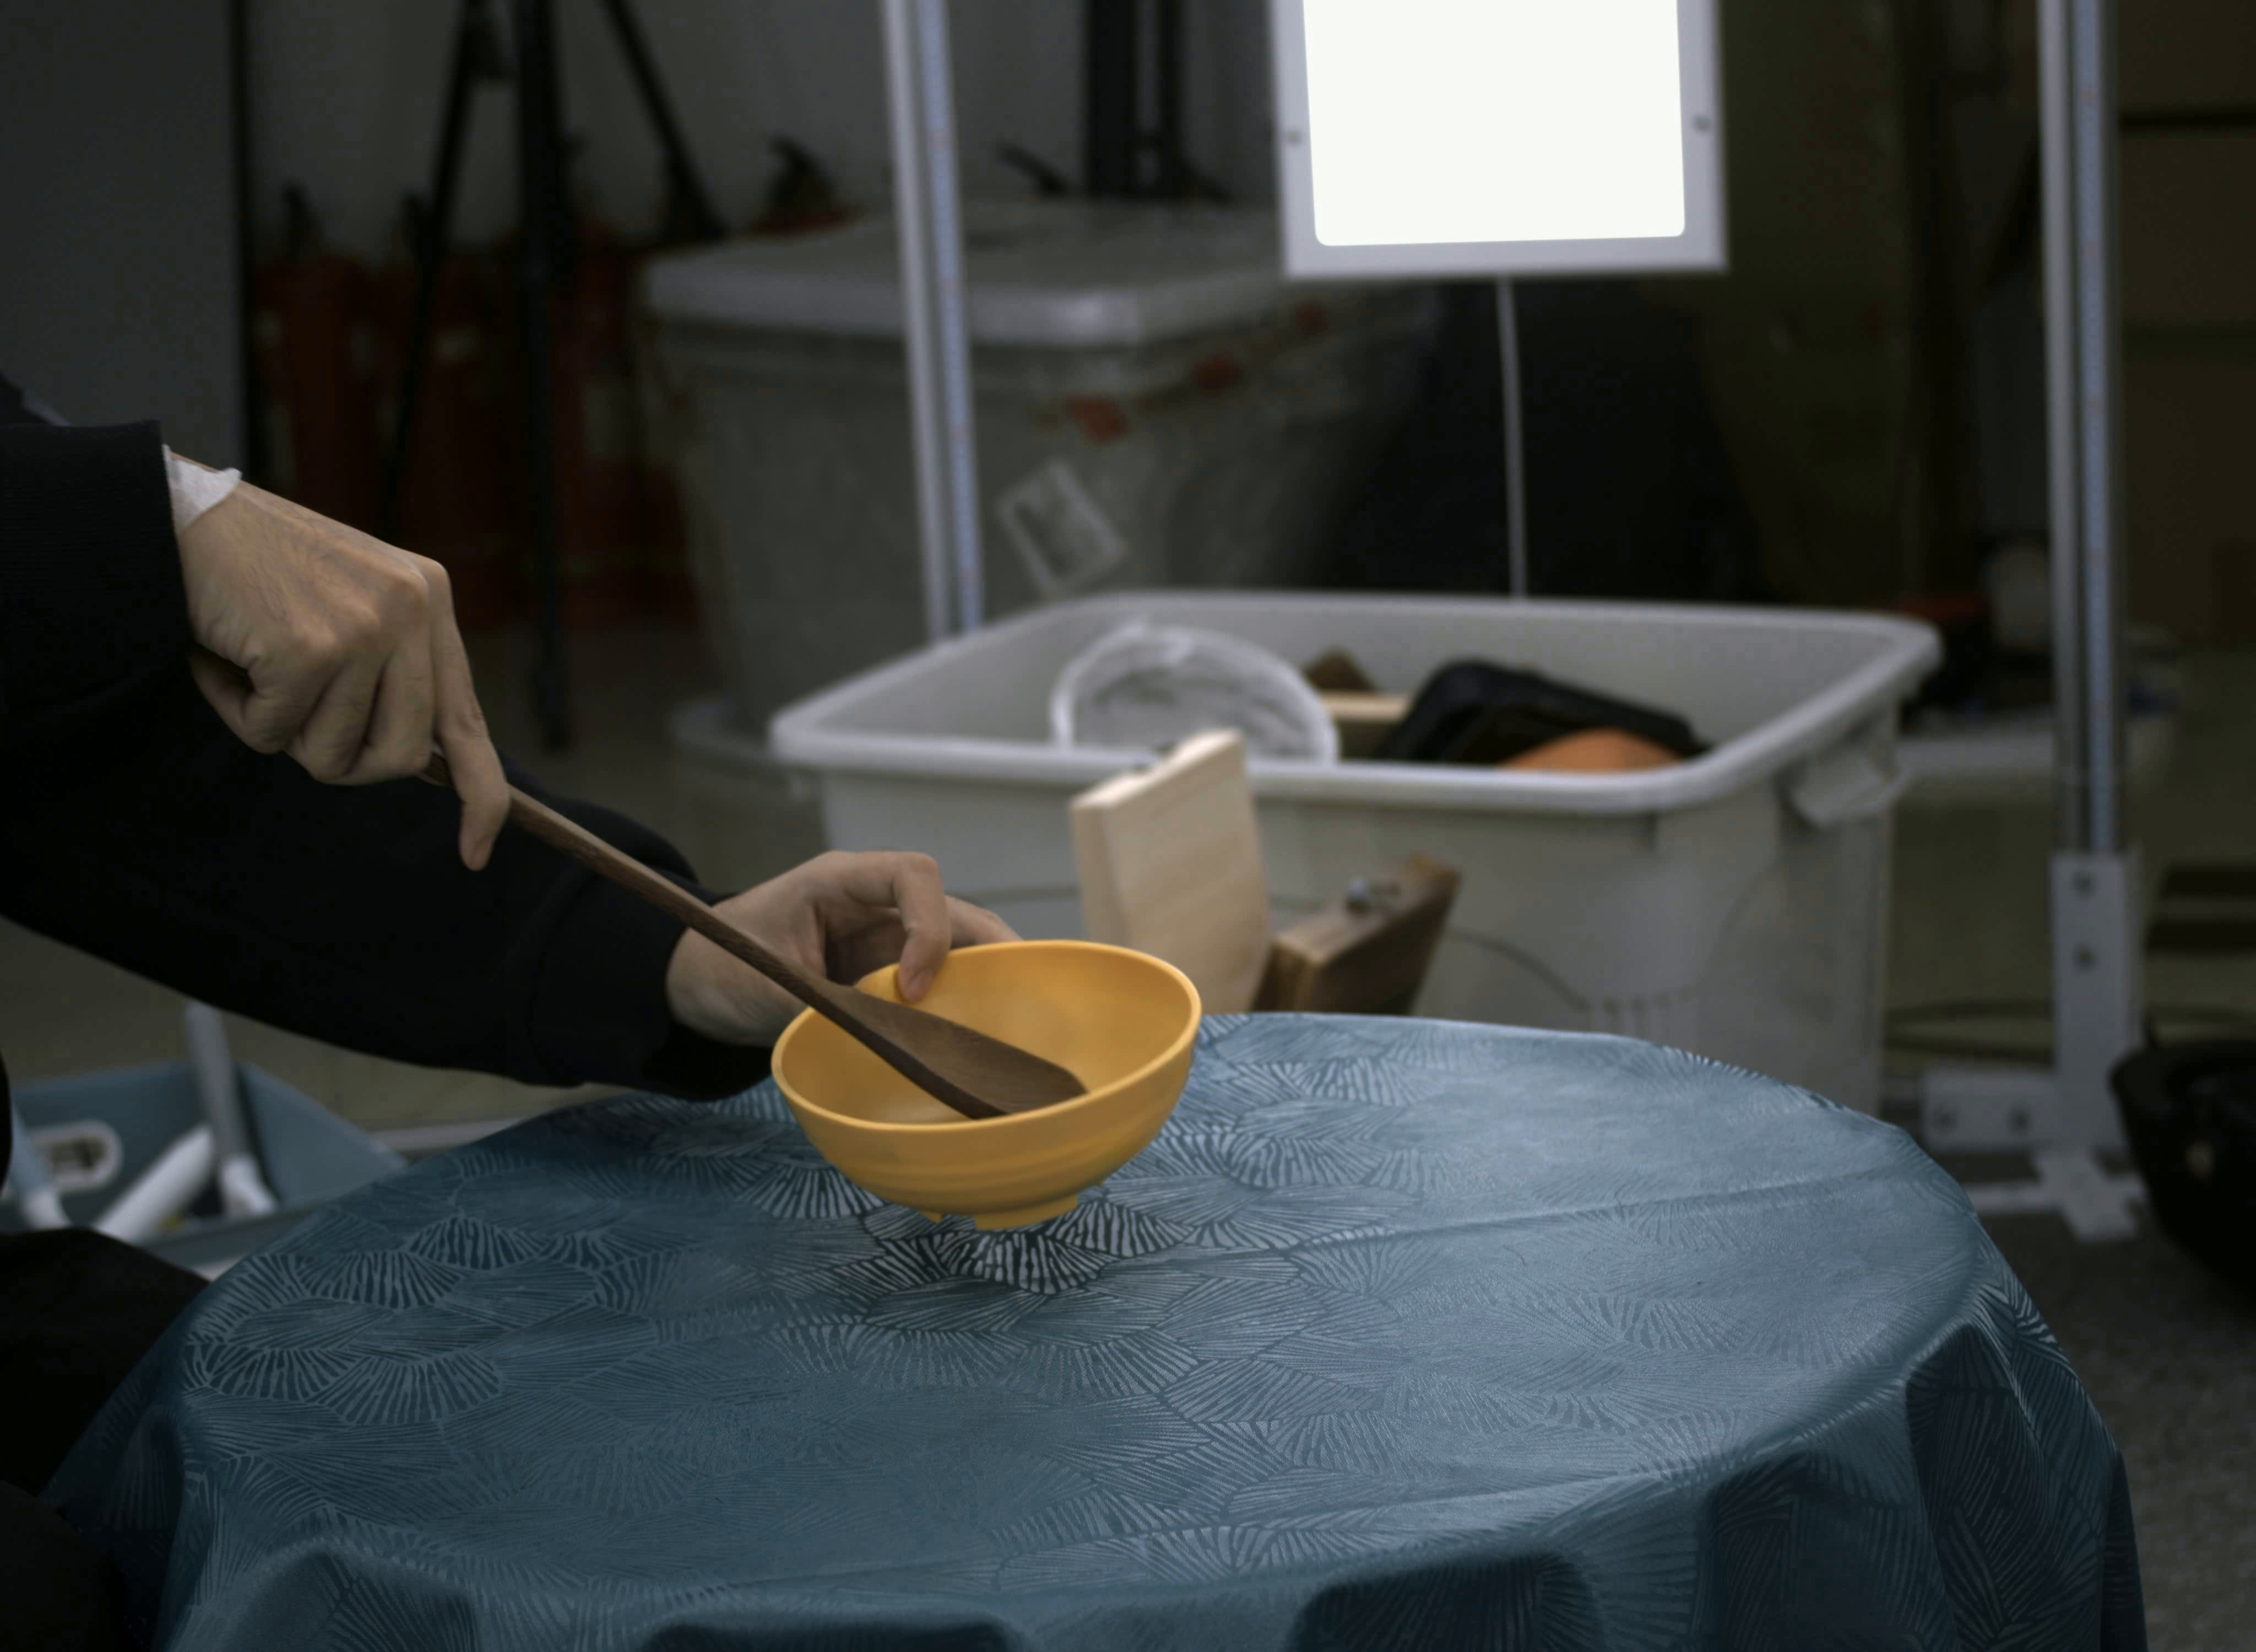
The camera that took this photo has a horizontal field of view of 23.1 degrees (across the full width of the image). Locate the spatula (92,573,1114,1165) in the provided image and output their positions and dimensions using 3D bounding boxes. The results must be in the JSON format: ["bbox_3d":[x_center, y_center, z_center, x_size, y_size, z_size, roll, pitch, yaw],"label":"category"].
[{"bbox_3d":[-0.166,0.014,1.794,0.382,0.016,0.096,31,8,-15],"label":"spatula"}]

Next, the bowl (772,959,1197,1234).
[{"bbox_3d":[-0.044,0.096,1.838,0.145,0.060,0.145,-9,19,2],"label":"bowl"}]
